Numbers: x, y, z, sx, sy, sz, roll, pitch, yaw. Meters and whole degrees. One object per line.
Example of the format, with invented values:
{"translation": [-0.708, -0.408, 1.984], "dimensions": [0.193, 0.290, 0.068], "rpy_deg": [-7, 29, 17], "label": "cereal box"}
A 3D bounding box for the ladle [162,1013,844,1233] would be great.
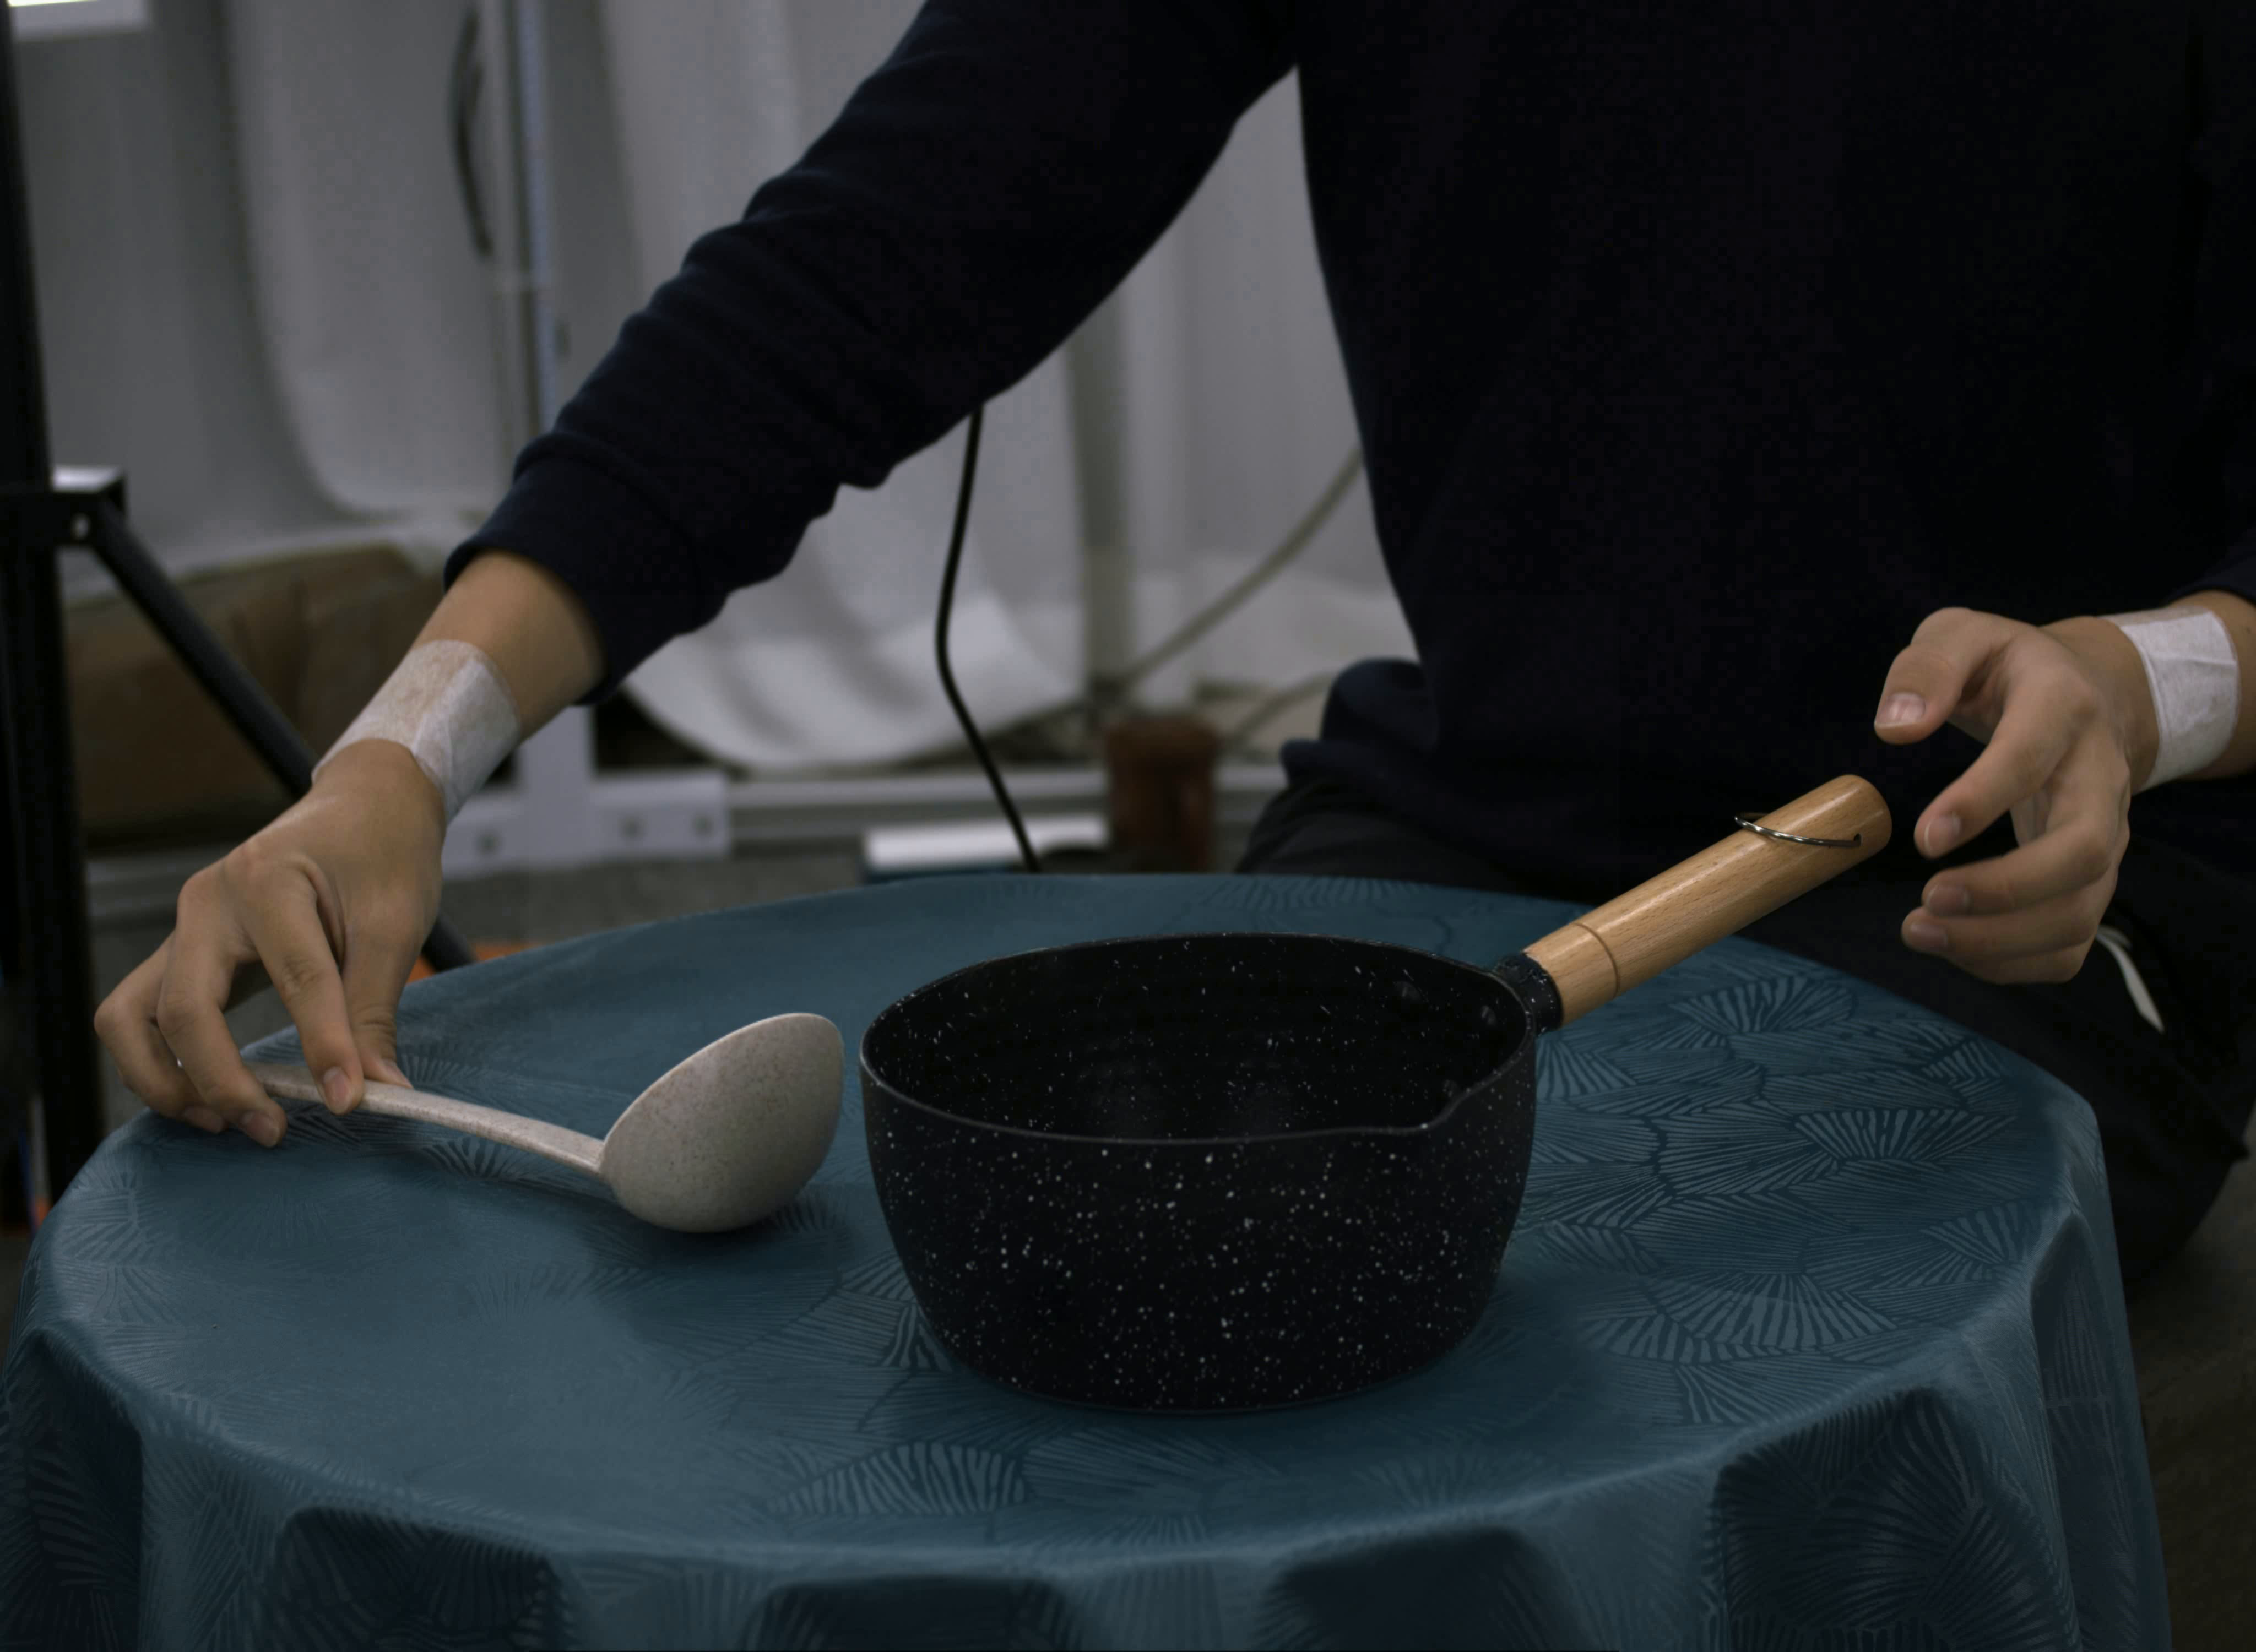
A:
{"translation": [-0.199, 0.069, 1.609], "dimensions": [0.281, 0.069, 0.087], "rpy_deg": [10, 14, 41], "label": "ladle"}

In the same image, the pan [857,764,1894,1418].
{"translation": [0.083, 0.069, 1.485], "dimensions": [0.335, 0.108, 0.212], "rpy_deg": [-15, 19, -33], "label": "pan"}
